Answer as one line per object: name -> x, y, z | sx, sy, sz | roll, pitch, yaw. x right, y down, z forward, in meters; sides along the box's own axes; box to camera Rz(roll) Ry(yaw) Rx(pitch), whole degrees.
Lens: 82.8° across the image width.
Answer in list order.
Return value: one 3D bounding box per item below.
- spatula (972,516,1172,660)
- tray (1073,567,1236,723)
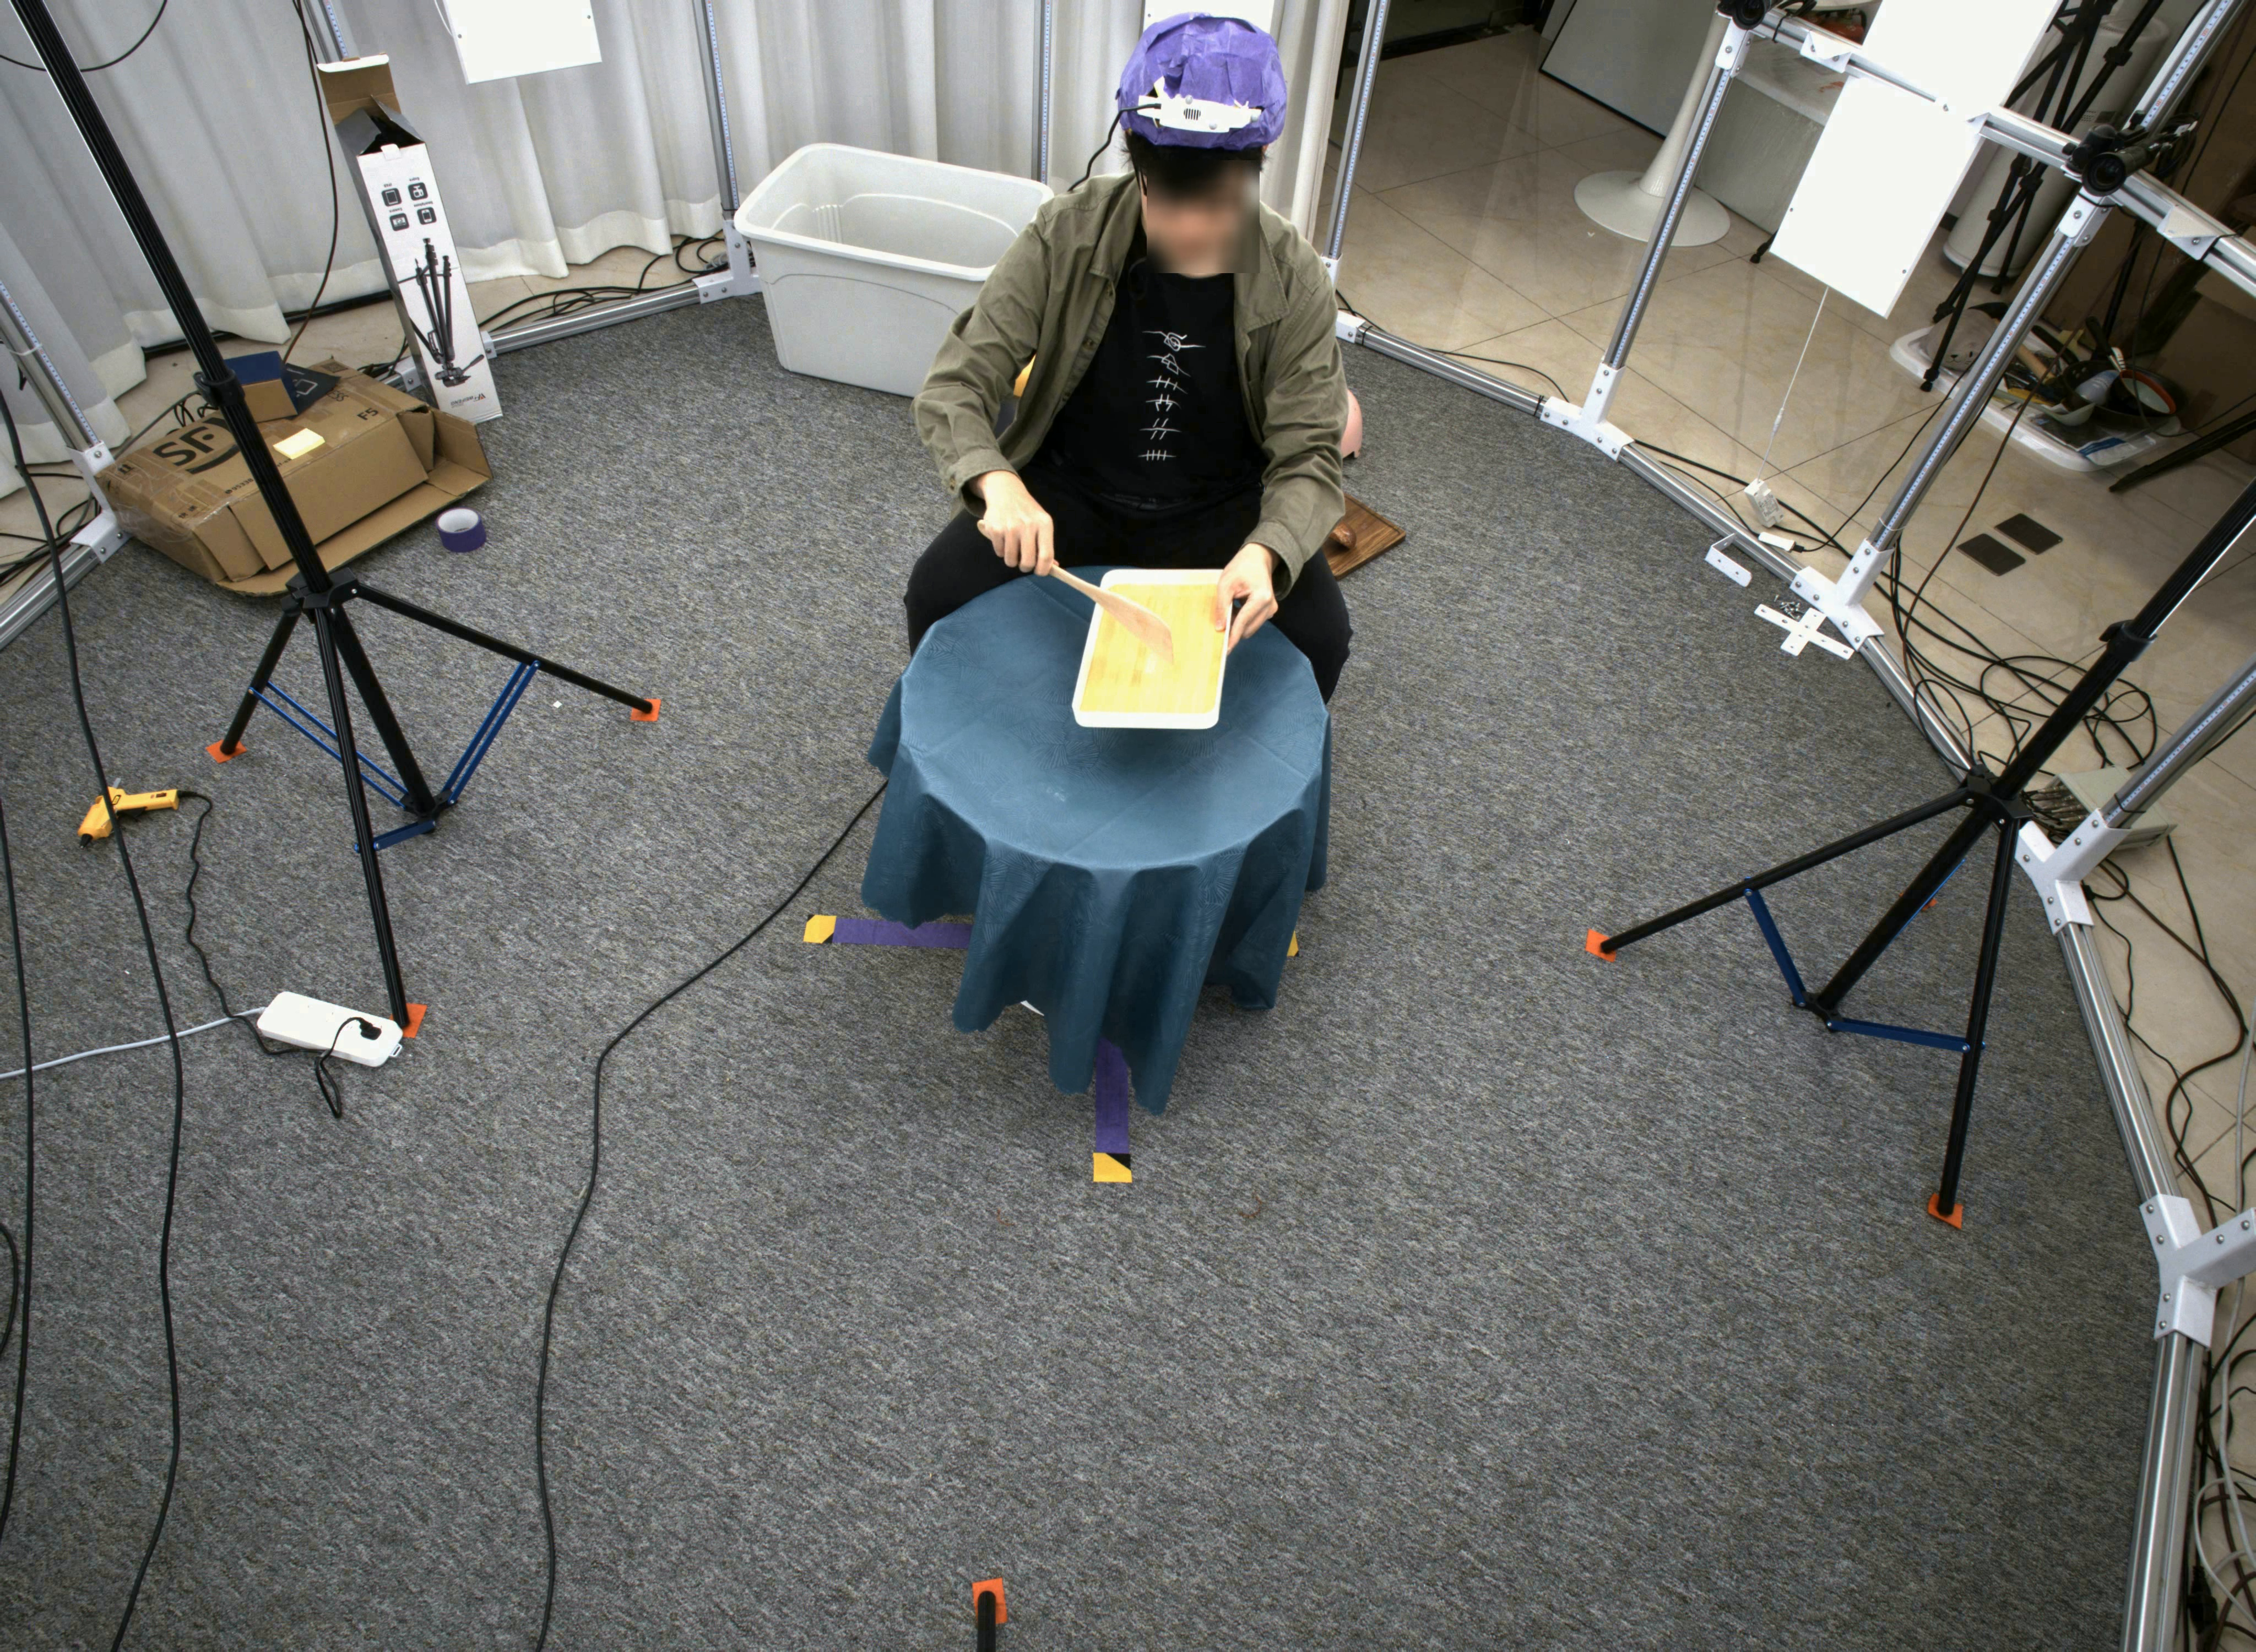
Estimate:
spatula -> -0.074, -0.321, 1.679 | 0.330, 0.078, 0.017 | 32, 65, 15
tray -> 0.042, -0.251, 1.737 | 0.192, 0.027, 0.307 | 2, 46, 9
